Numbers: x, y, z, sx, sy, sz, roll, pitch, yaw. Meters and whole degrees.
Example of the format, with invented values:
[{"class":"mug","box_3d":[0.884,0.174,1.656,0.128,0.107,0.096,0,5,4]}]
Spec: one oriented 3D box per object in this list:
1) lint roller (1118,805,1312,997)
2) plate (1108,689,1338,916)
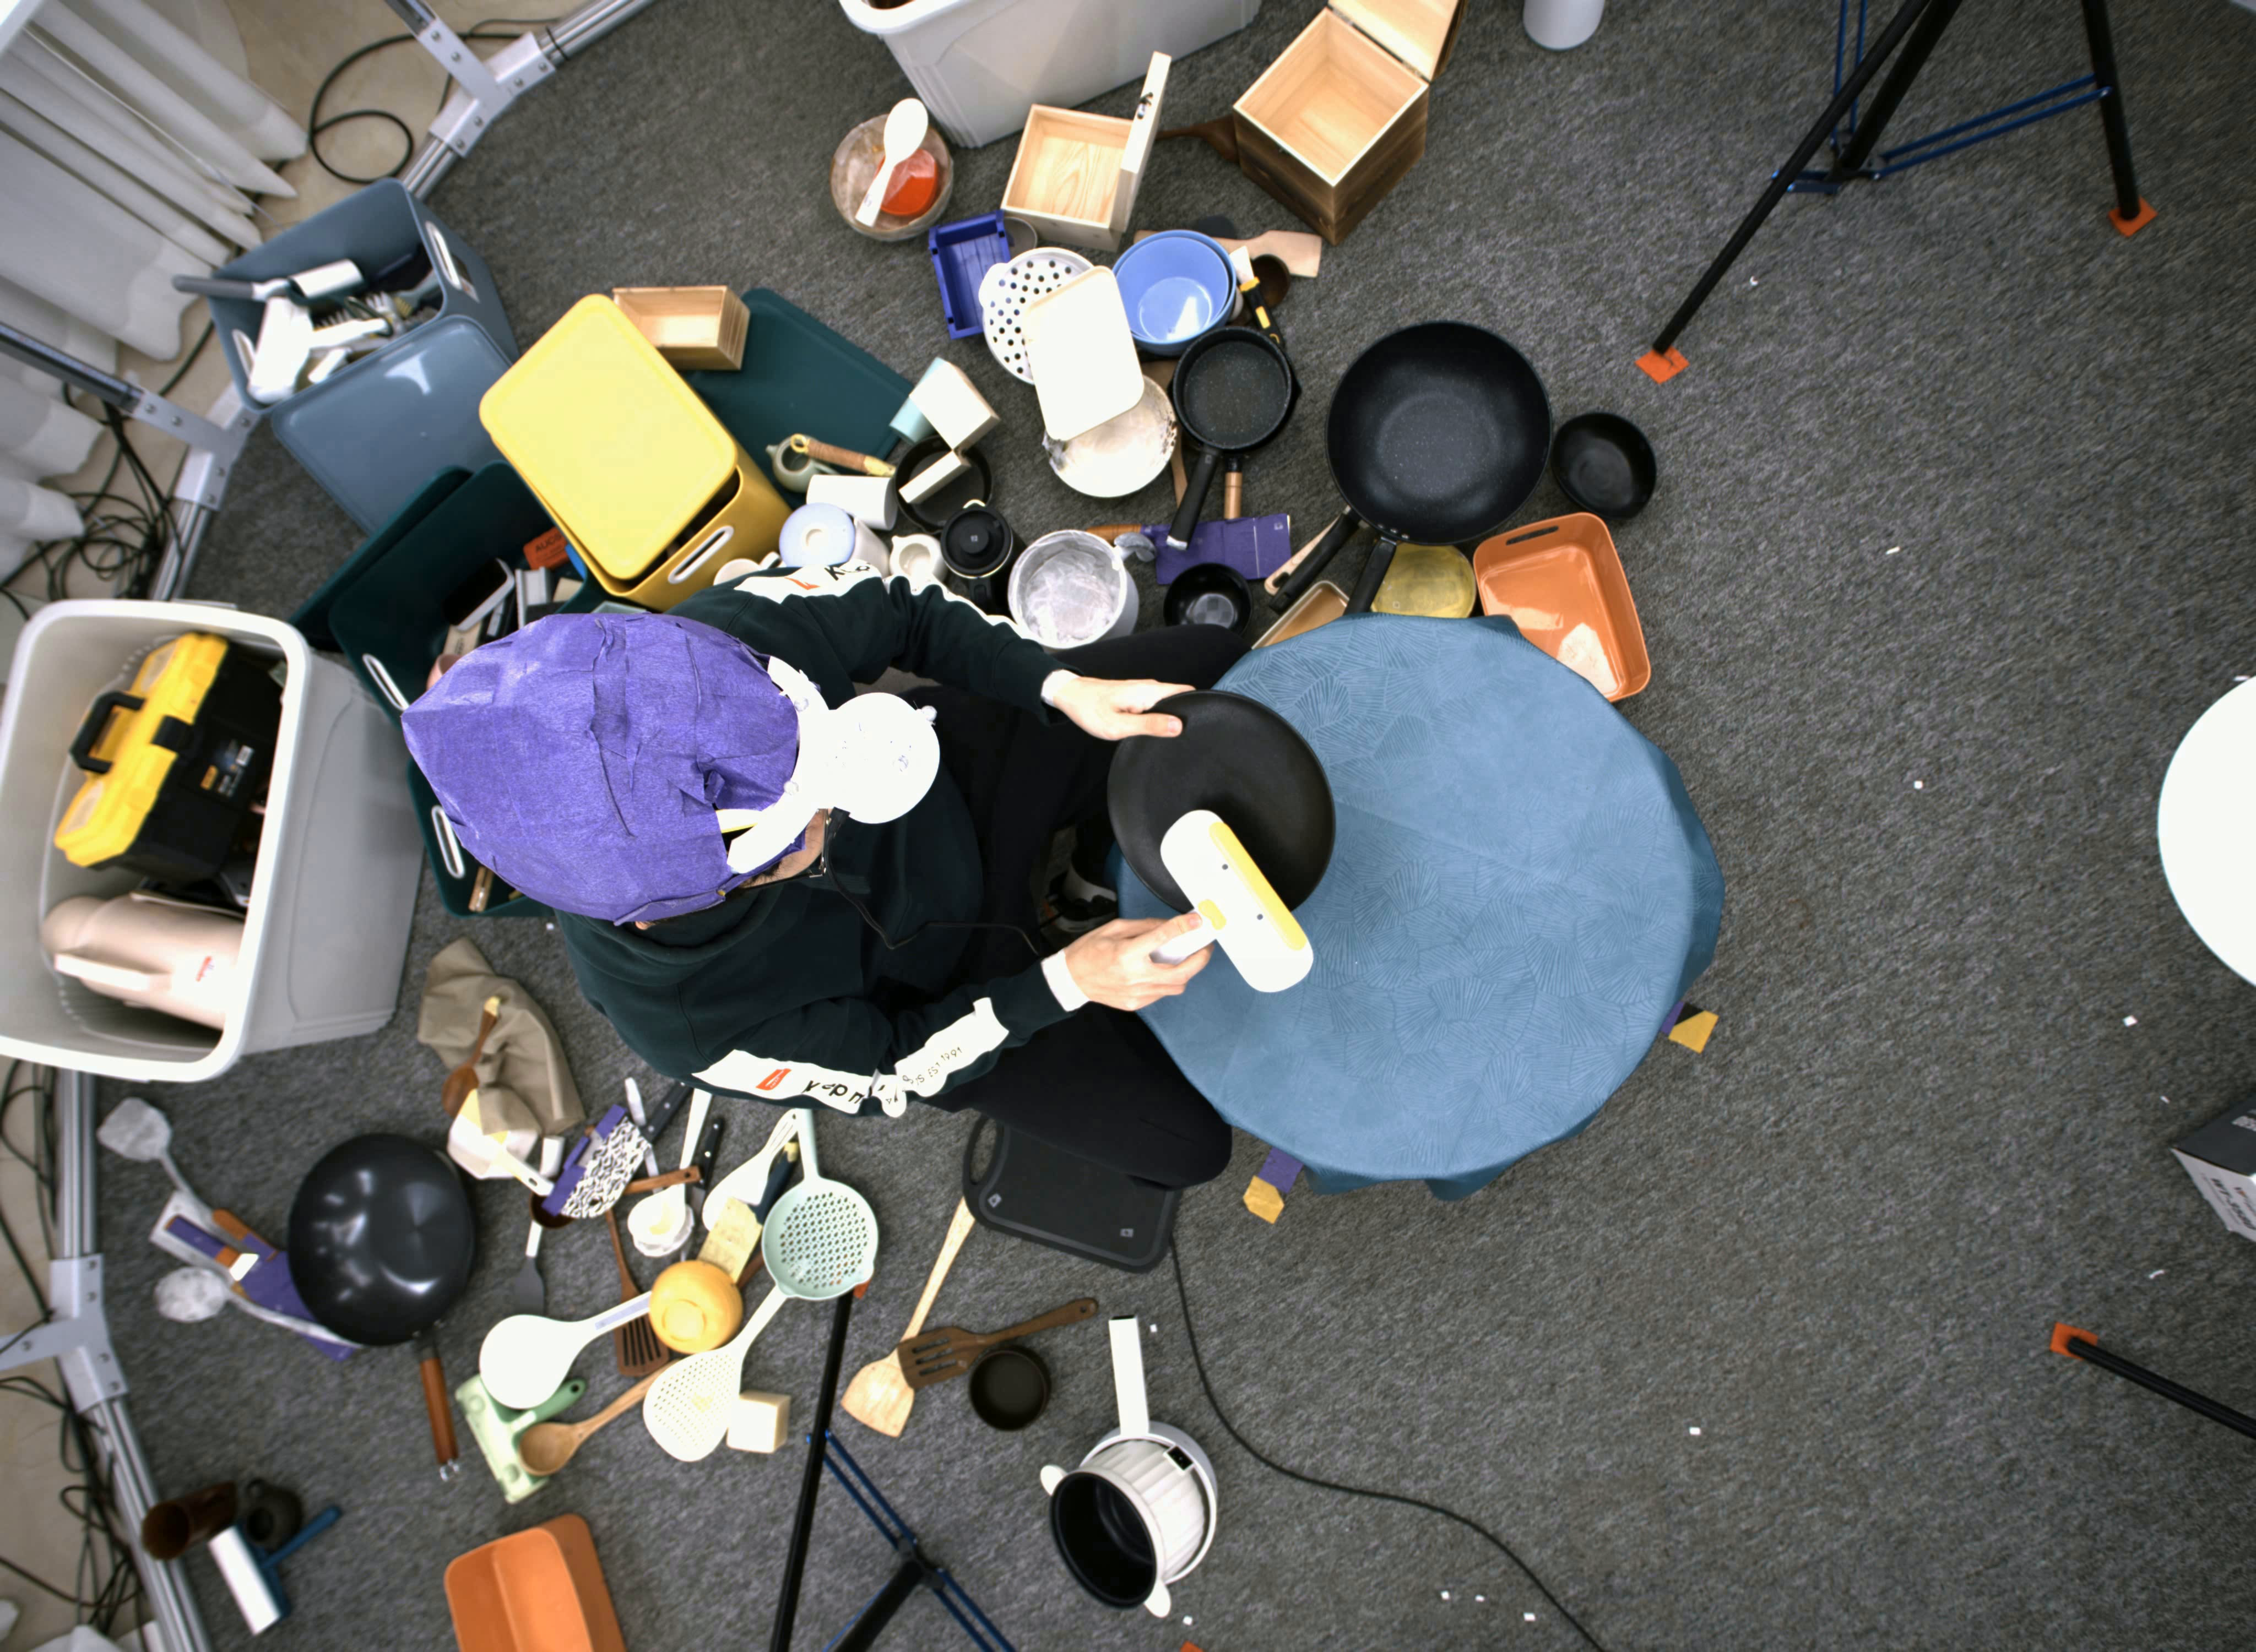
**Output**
[{"class":"lint roller","box_3d":[0.063,0.101,1.359,0.192,0.072,0.197,49,130,4]},{"class":"plate","box_3d":[0.092,-0.018,1.351,0.245,0.023,0.249,11,116,25]}]
